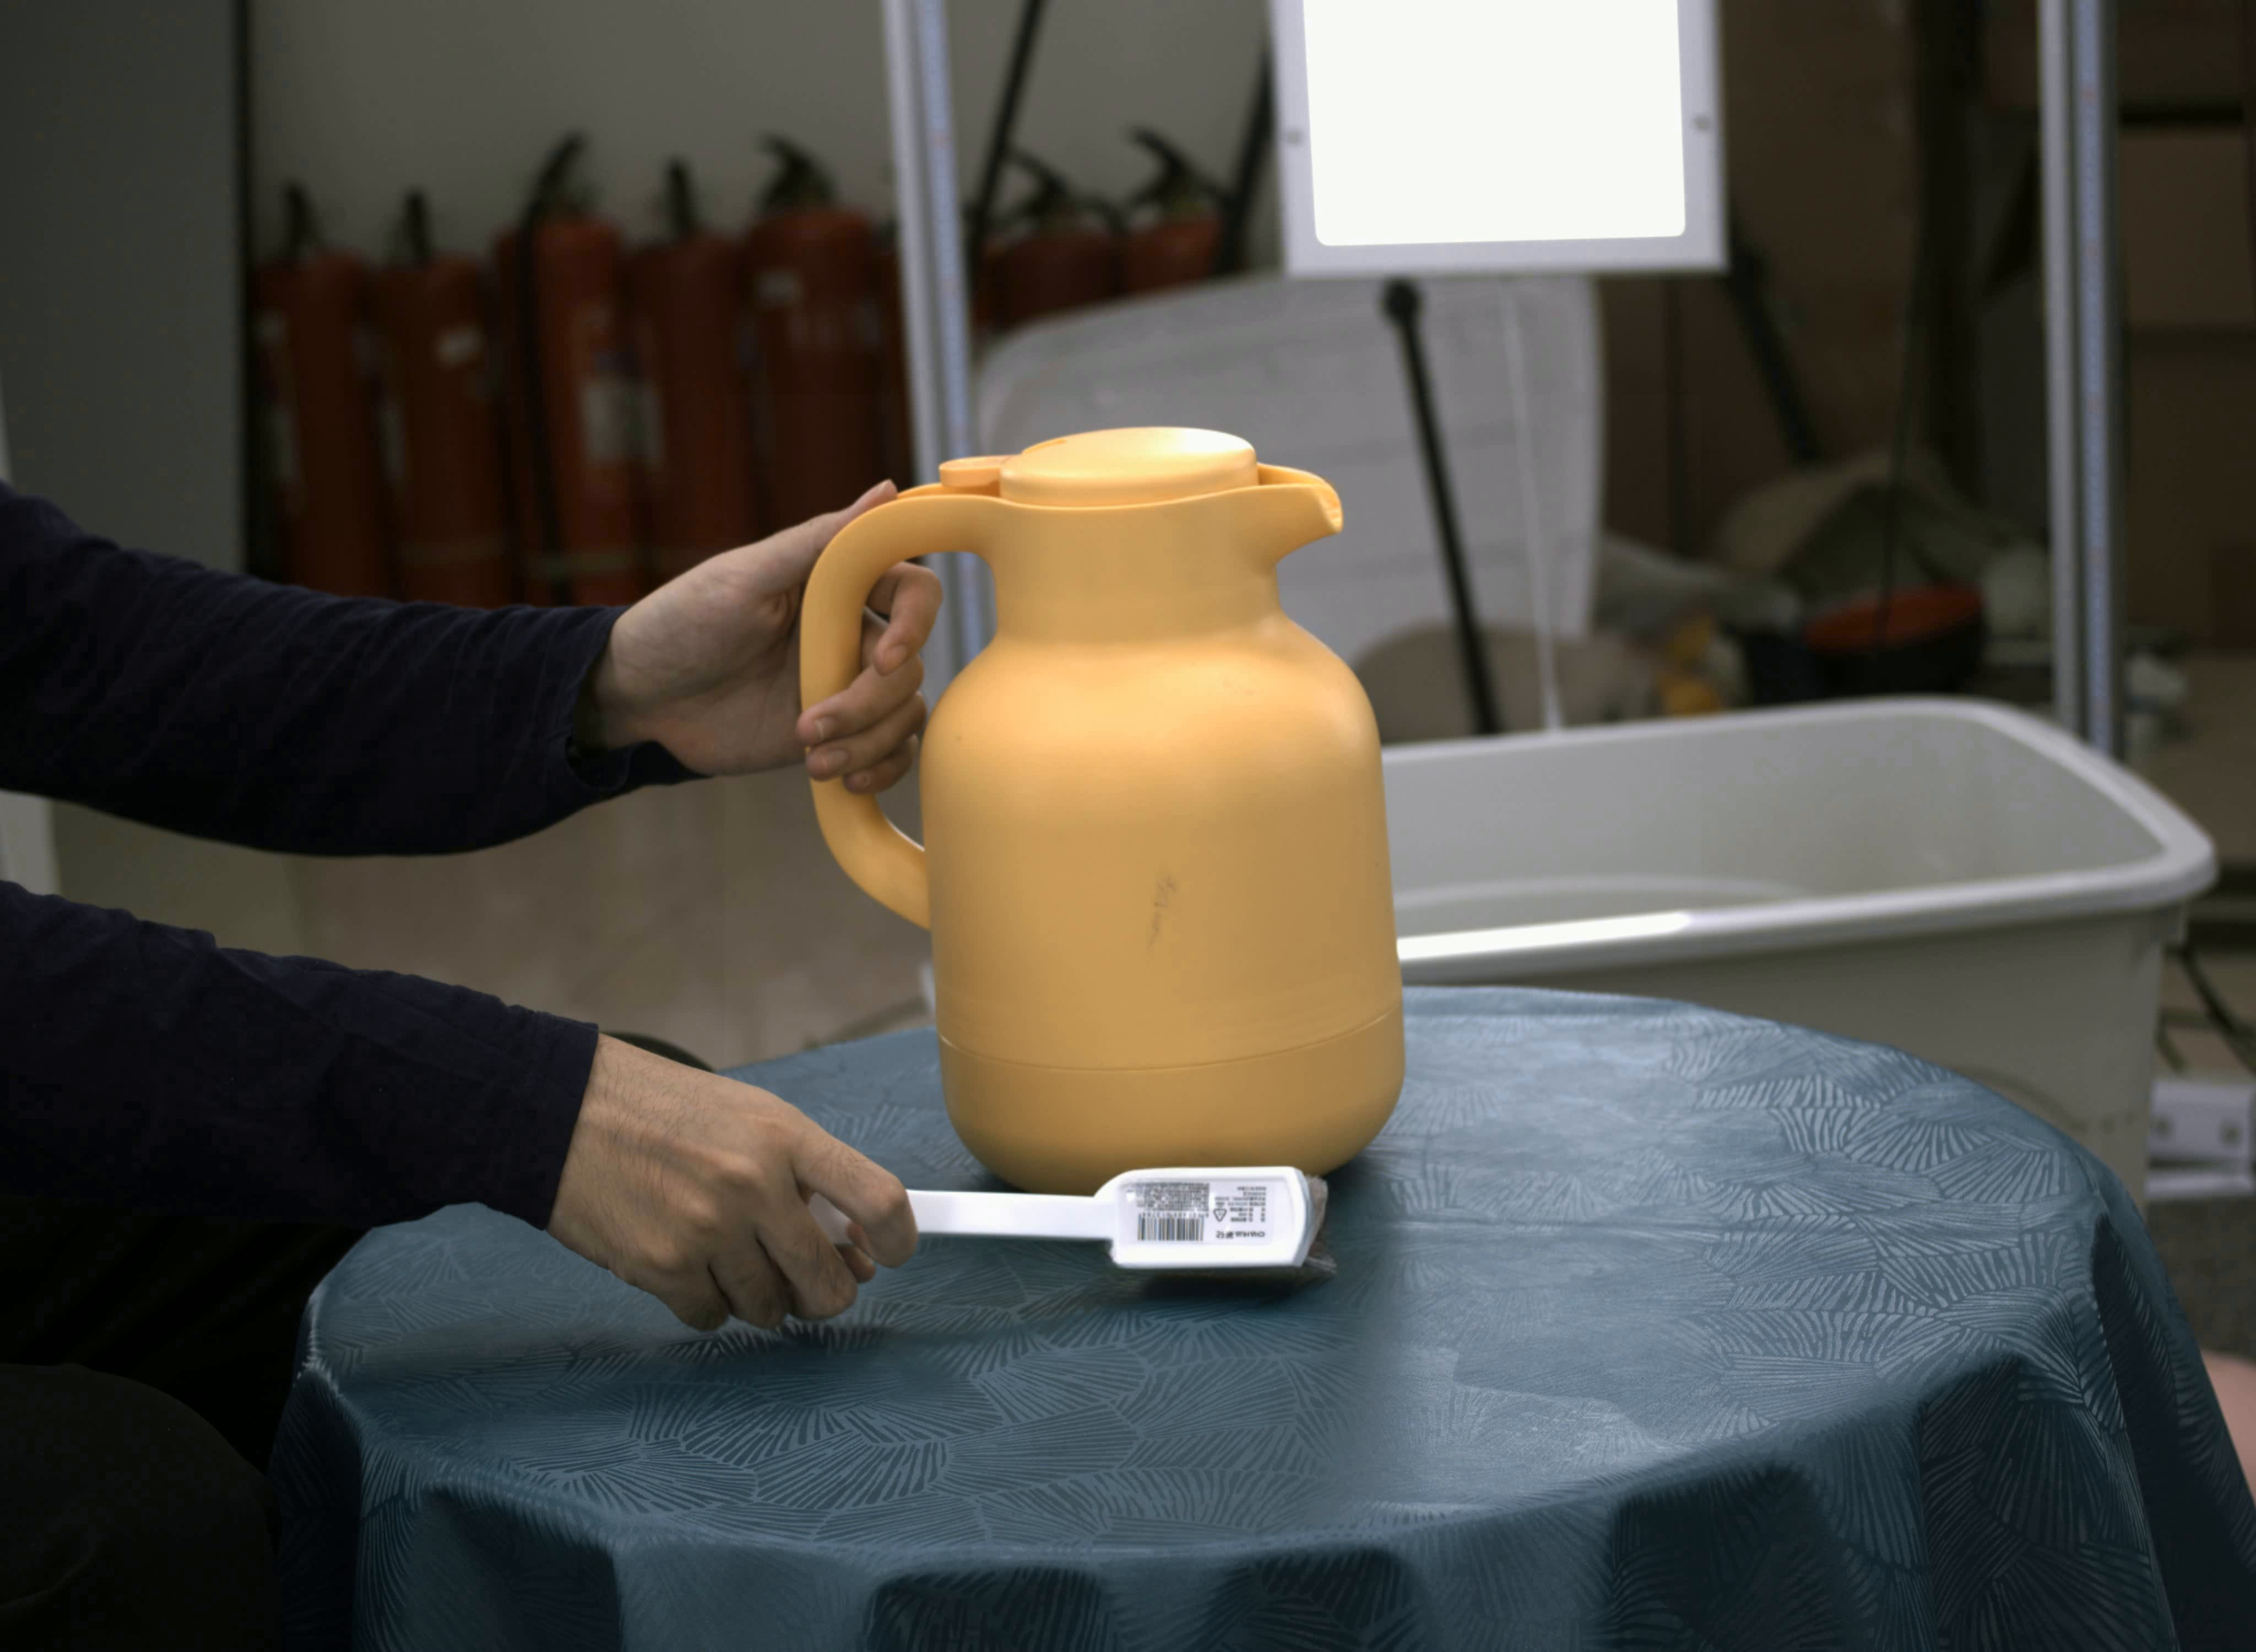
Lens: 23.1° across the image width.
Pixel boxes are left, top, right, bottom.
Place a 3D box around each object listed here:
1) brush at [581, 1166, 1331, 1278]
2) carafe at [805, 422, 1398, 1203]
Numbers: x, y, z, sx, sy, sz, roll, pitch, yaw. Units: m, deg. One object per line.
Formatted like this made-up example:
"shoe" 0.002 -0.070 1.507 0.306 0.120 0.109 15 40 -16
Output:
"brush" -0.054 0.130 1.783 0.243 0.034 0.050 -1 -9 0
"carafe" -0.010 -0.008 1.901 0.205 0.261 0.161 1 12 19
